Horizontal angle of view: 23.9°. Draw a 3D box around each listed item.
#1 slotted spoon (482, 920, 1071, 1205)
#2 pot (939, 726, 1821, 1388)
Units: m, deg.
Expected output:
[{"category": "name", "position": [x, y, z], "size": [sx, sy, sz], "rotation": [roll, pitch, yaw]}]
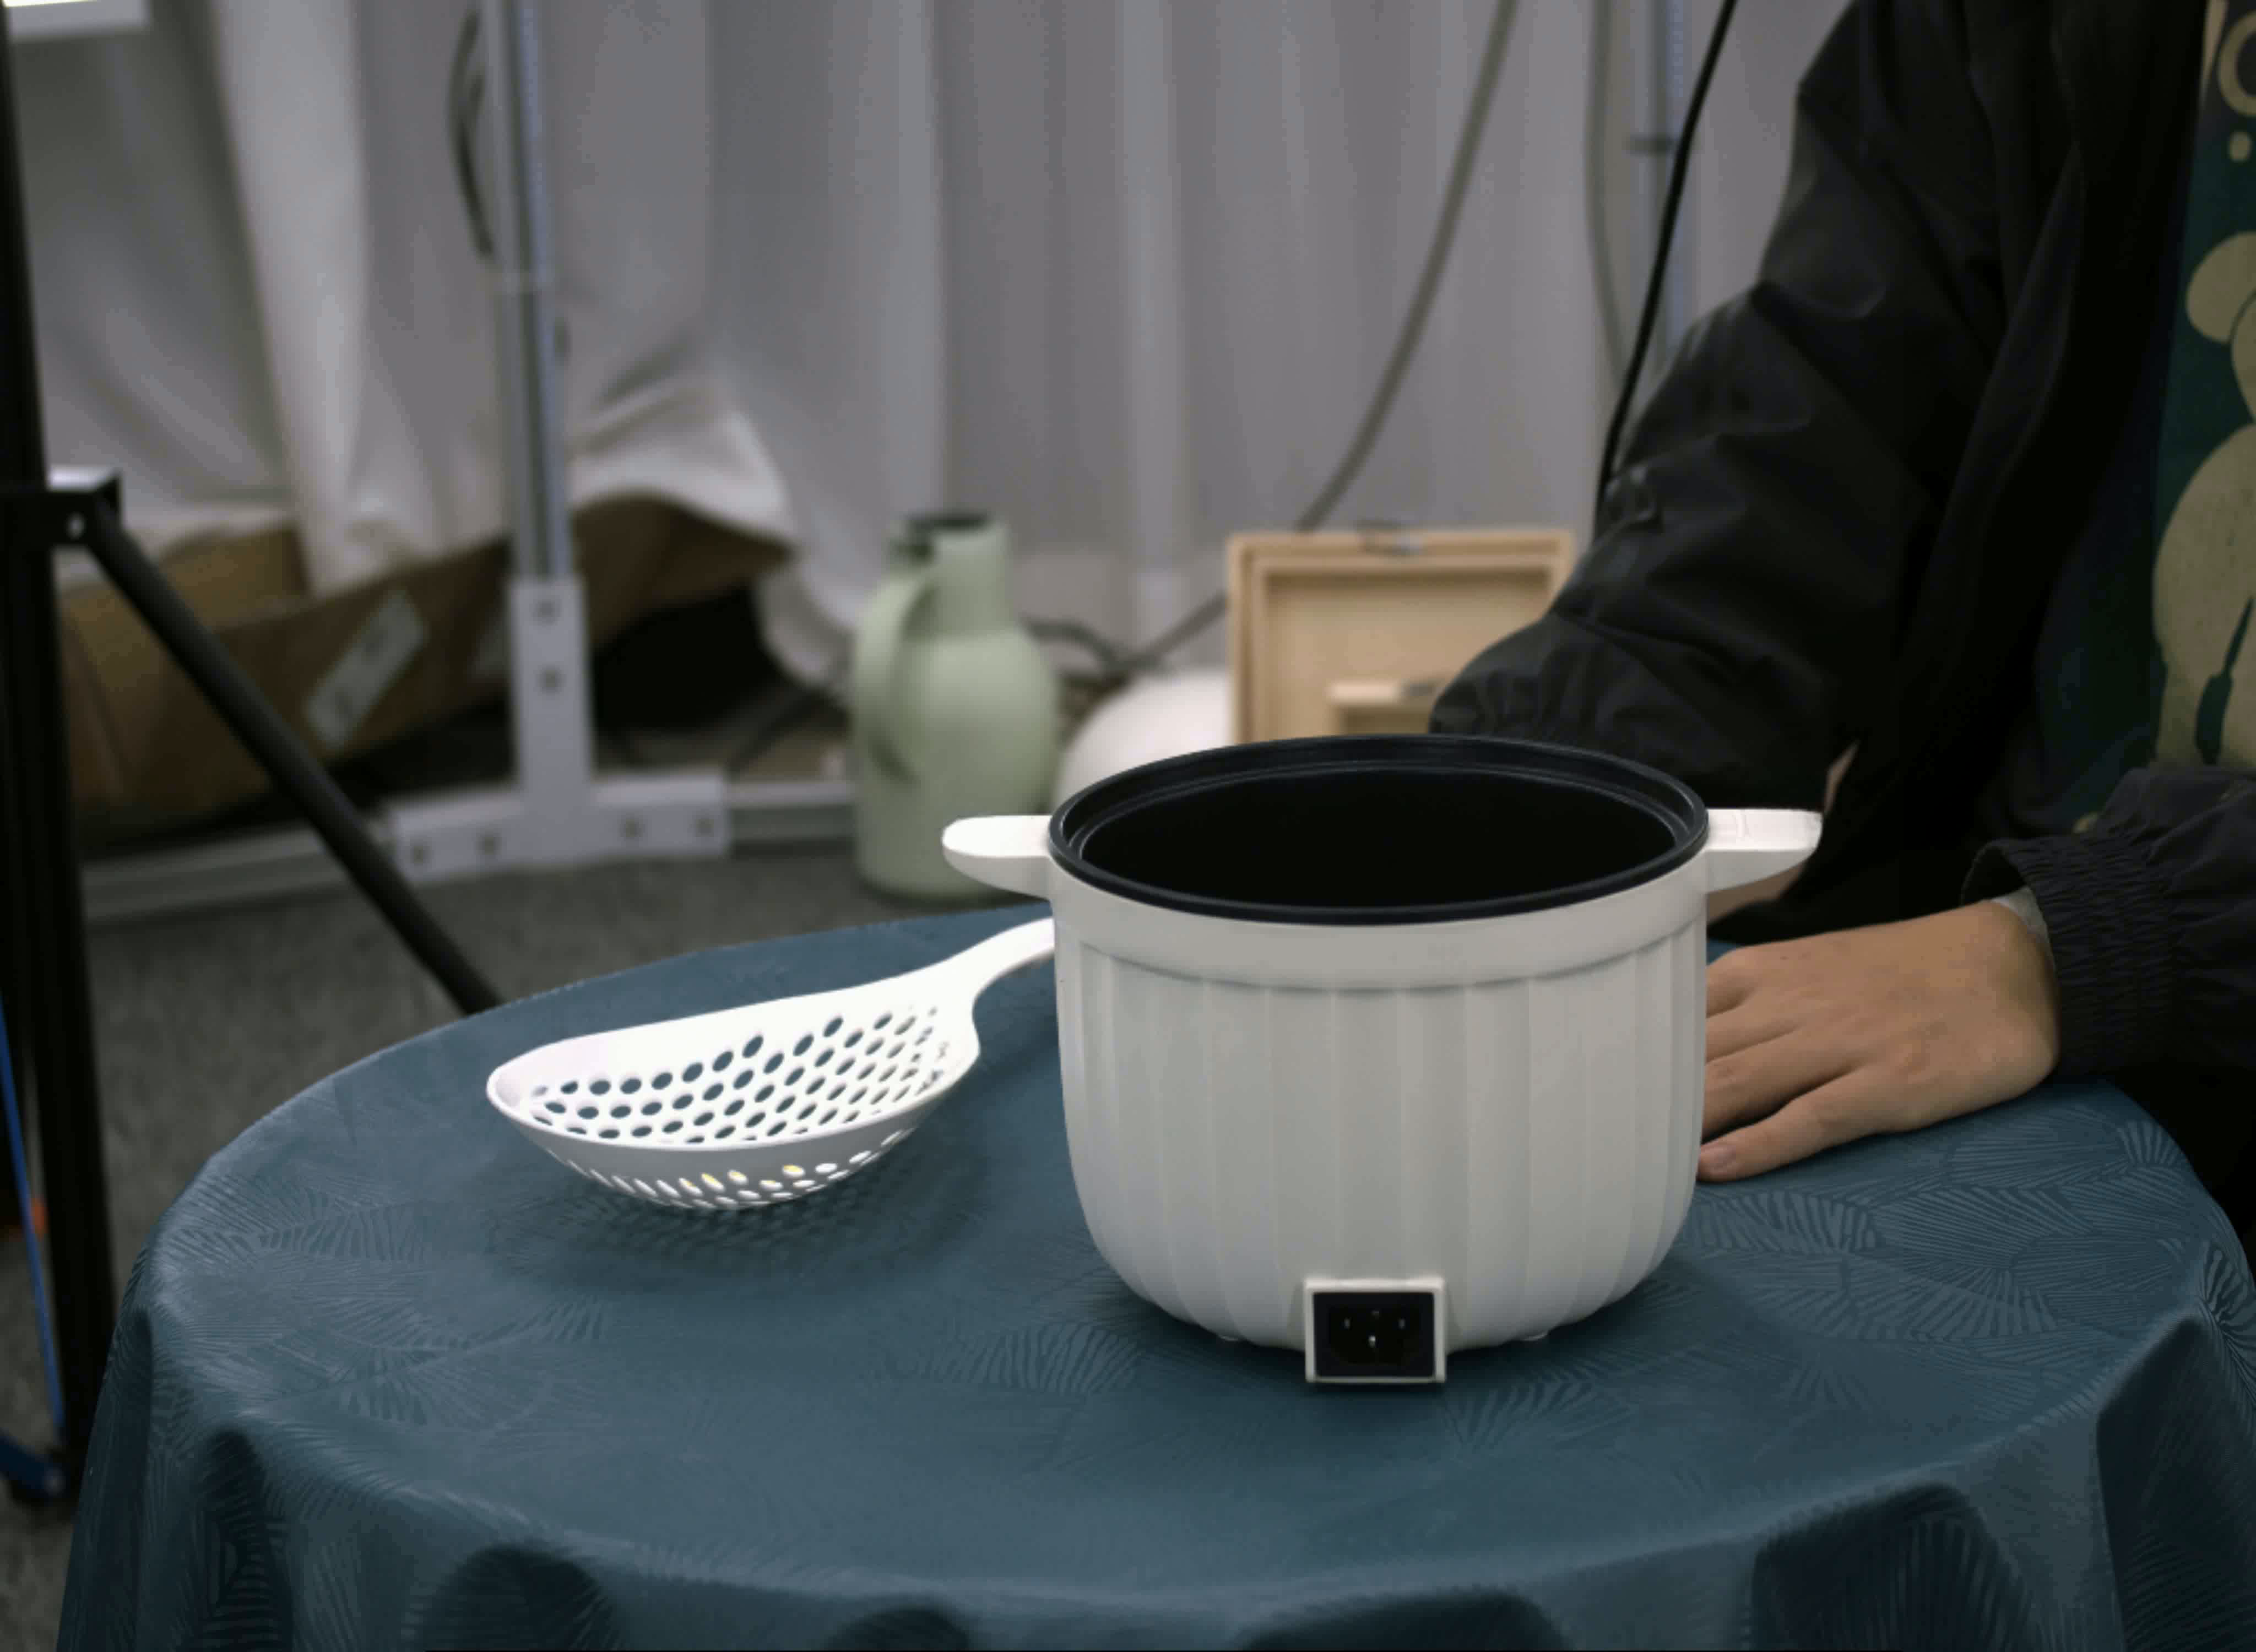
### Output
[{"category": "slotted spoon", "position": [-0.065, 0.061, 1.658], "size": [0.139, 0.050, 0.342], "rotation": [5, 18, 29]}, {"category": "pot", "position": [0.069, 0.060, 1.466], "size": [0.240, 0.142, 0.190], "rotation": [1, 18, 5]}]
